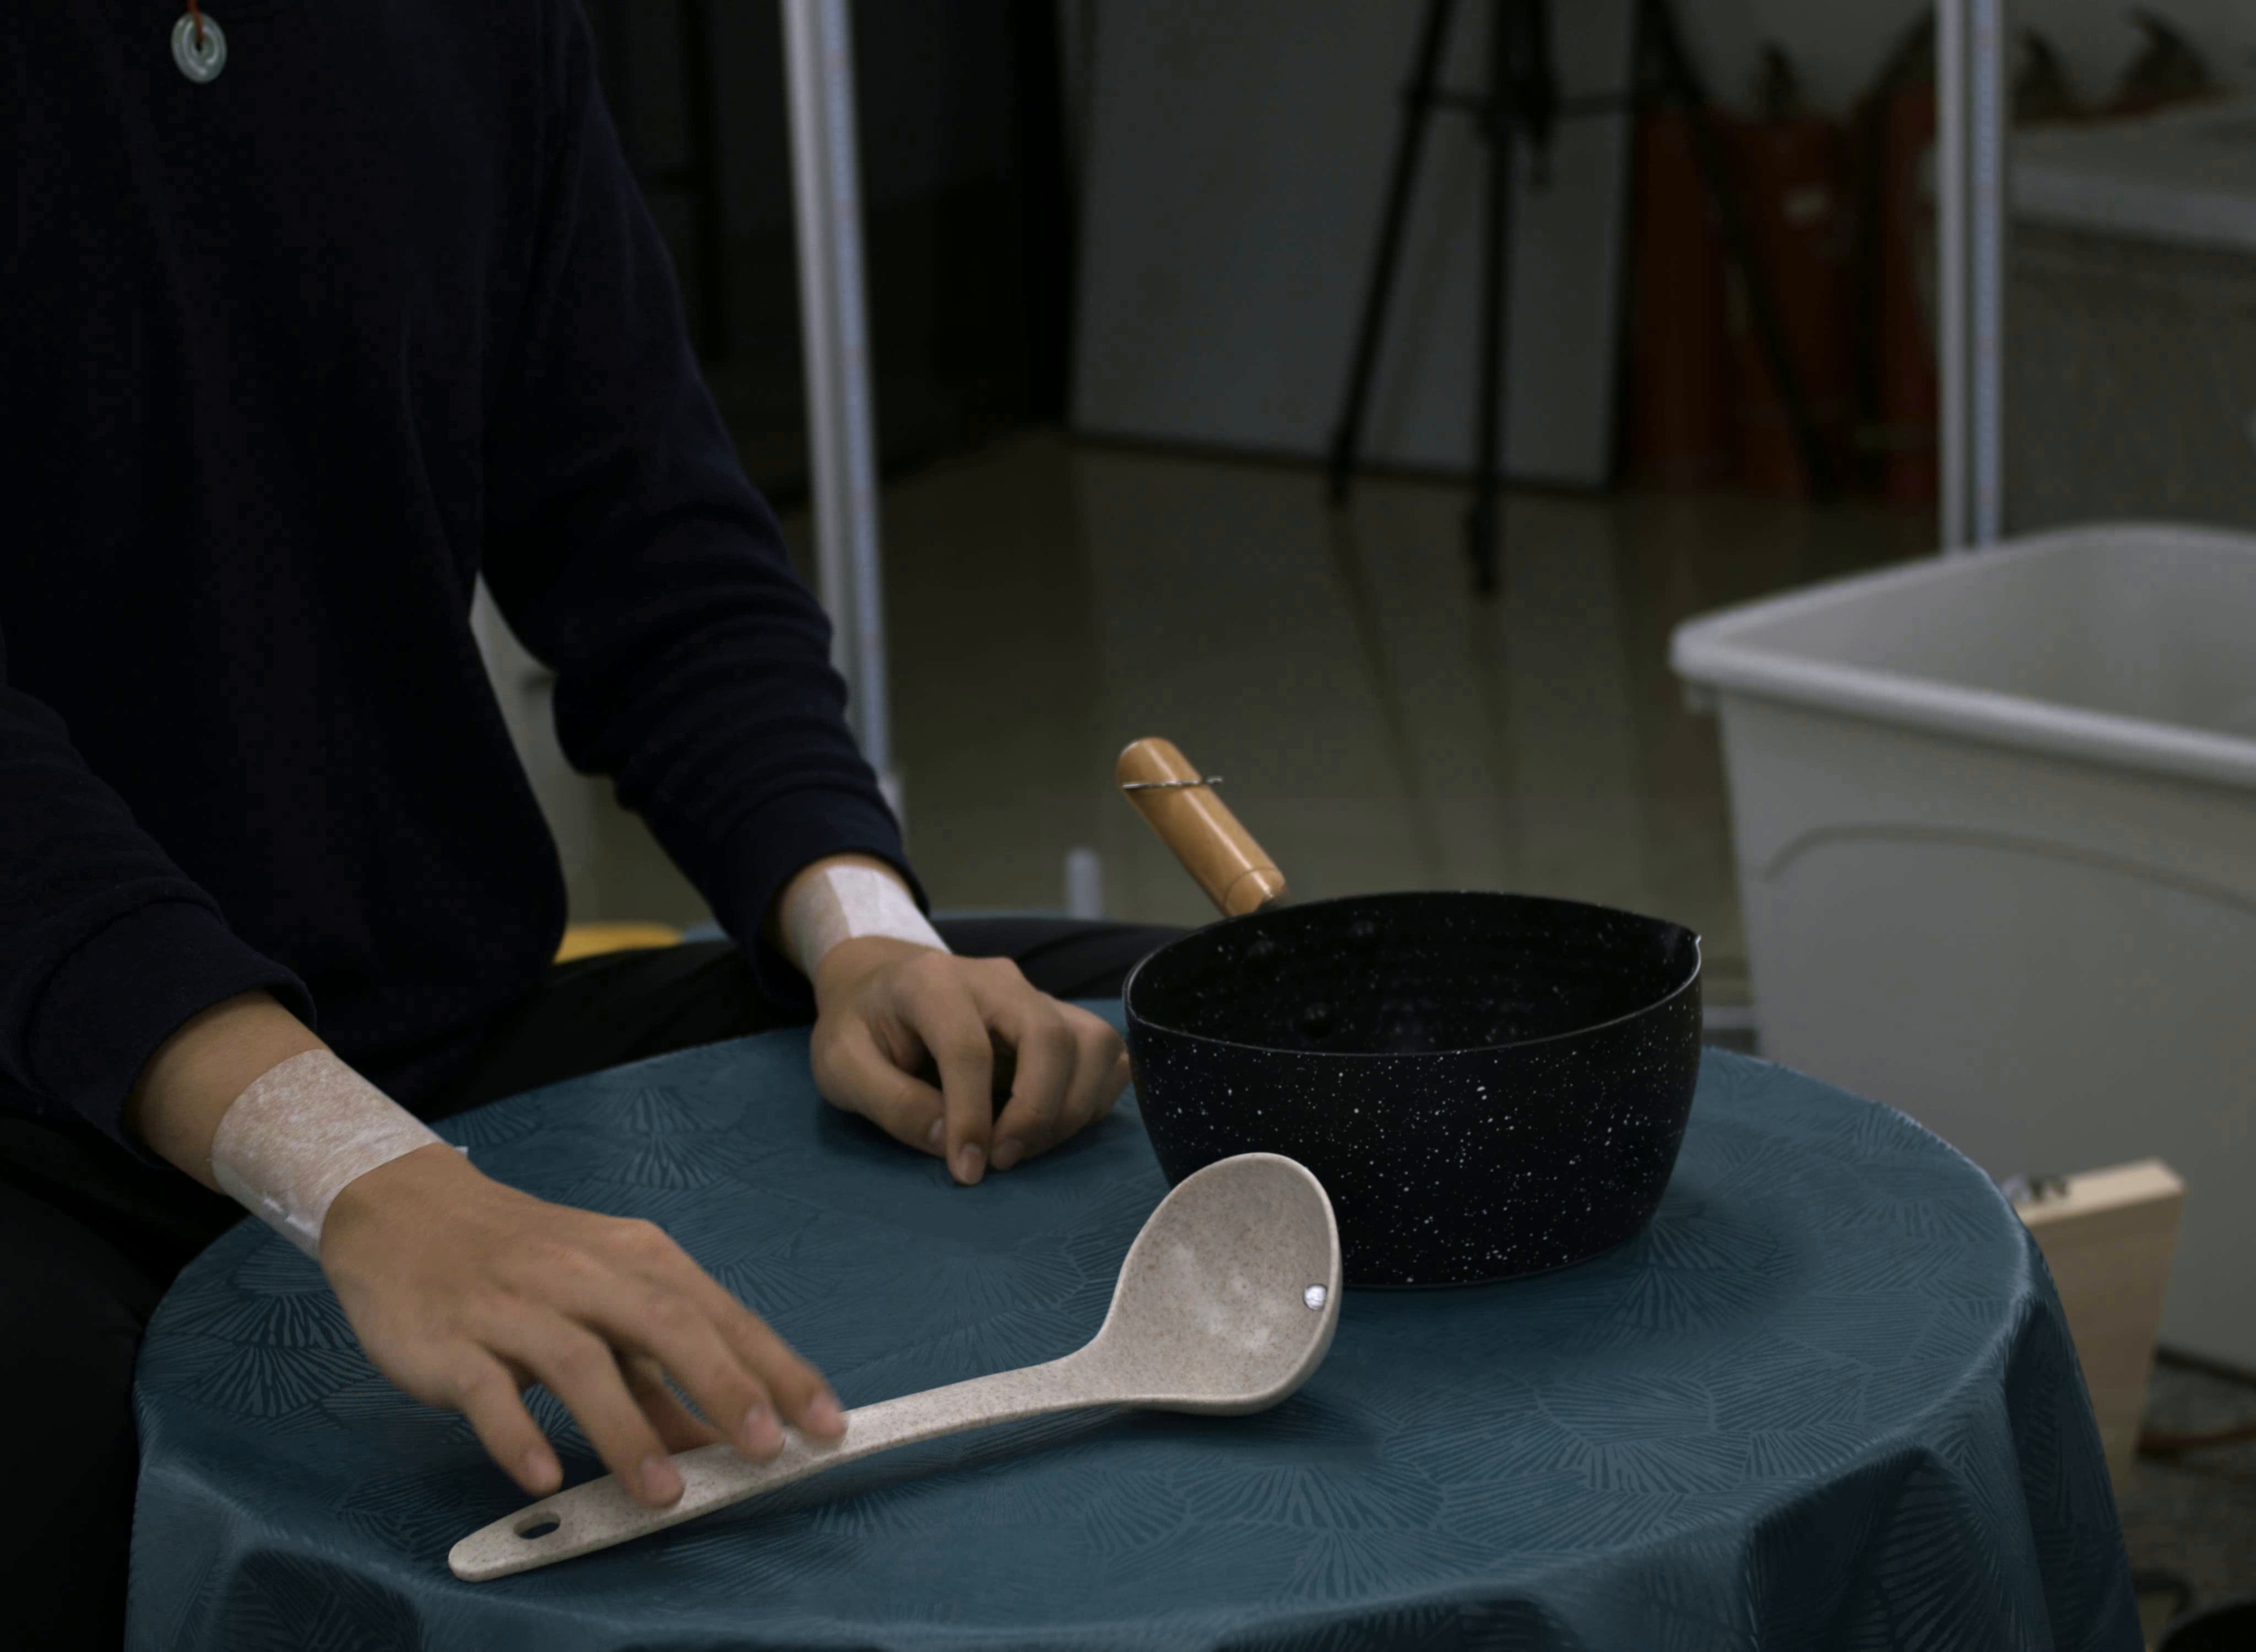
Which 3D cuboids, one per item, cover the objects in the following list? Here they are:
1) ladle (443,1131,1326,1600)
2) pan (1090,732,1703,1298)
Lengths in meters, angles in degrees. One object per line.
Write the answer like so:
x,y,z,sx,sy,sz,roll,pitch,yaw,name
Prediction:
-0.068,0.150,1.522,0.269,0.070,0.090,-13,21,-24,ladle
0.064,0.057,1.785,0.203,0.109,0.346,-10,16,-18,pan
